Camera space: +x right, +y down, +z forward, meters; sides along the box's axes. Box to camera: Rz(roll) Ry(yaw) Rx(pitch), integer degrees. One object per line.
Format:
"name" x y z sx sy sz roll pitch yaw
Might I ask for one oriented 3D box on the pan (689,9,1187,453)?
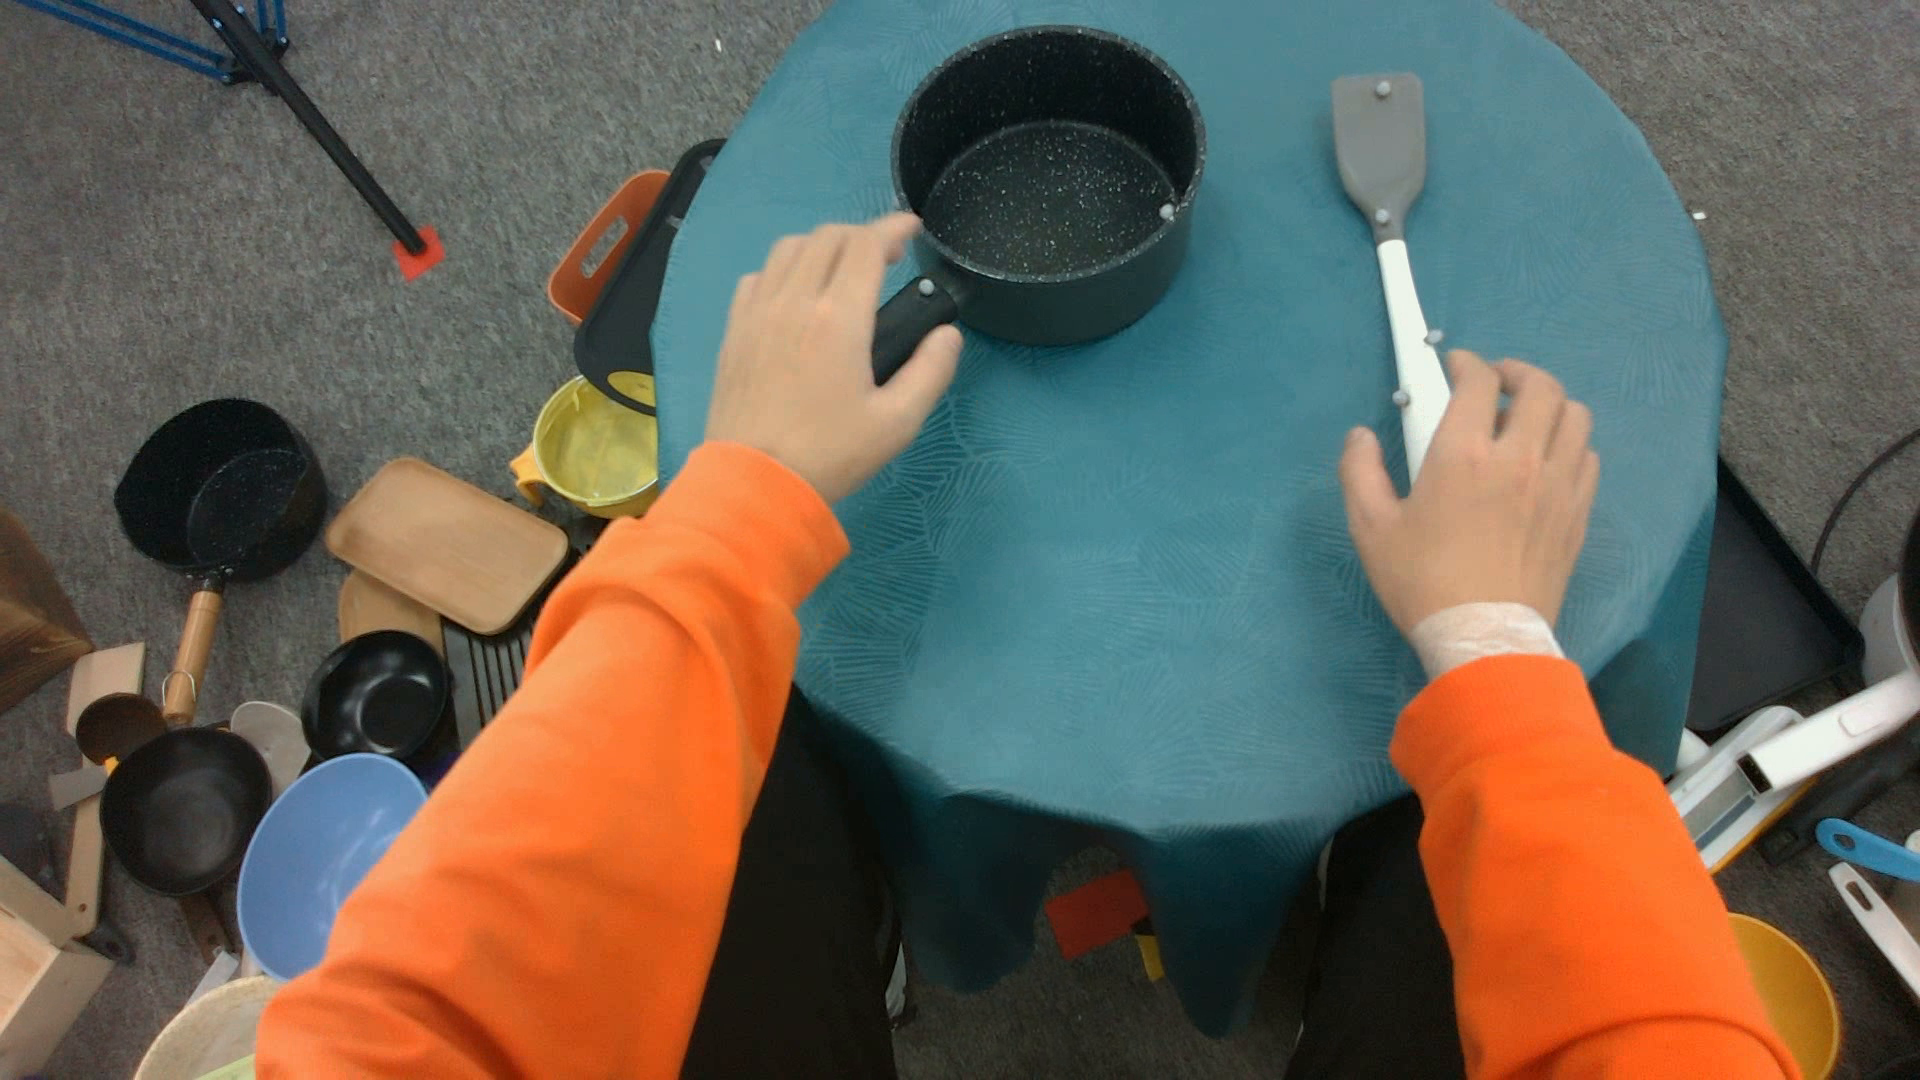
"pan" -0.013 -0.152 0.755 0.172 0.086 0.329 37 72 19

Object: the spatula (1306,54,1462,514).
"spatula" 0.236 -0.151 0.763 0.058 0.032 0.288 -5 67 6
